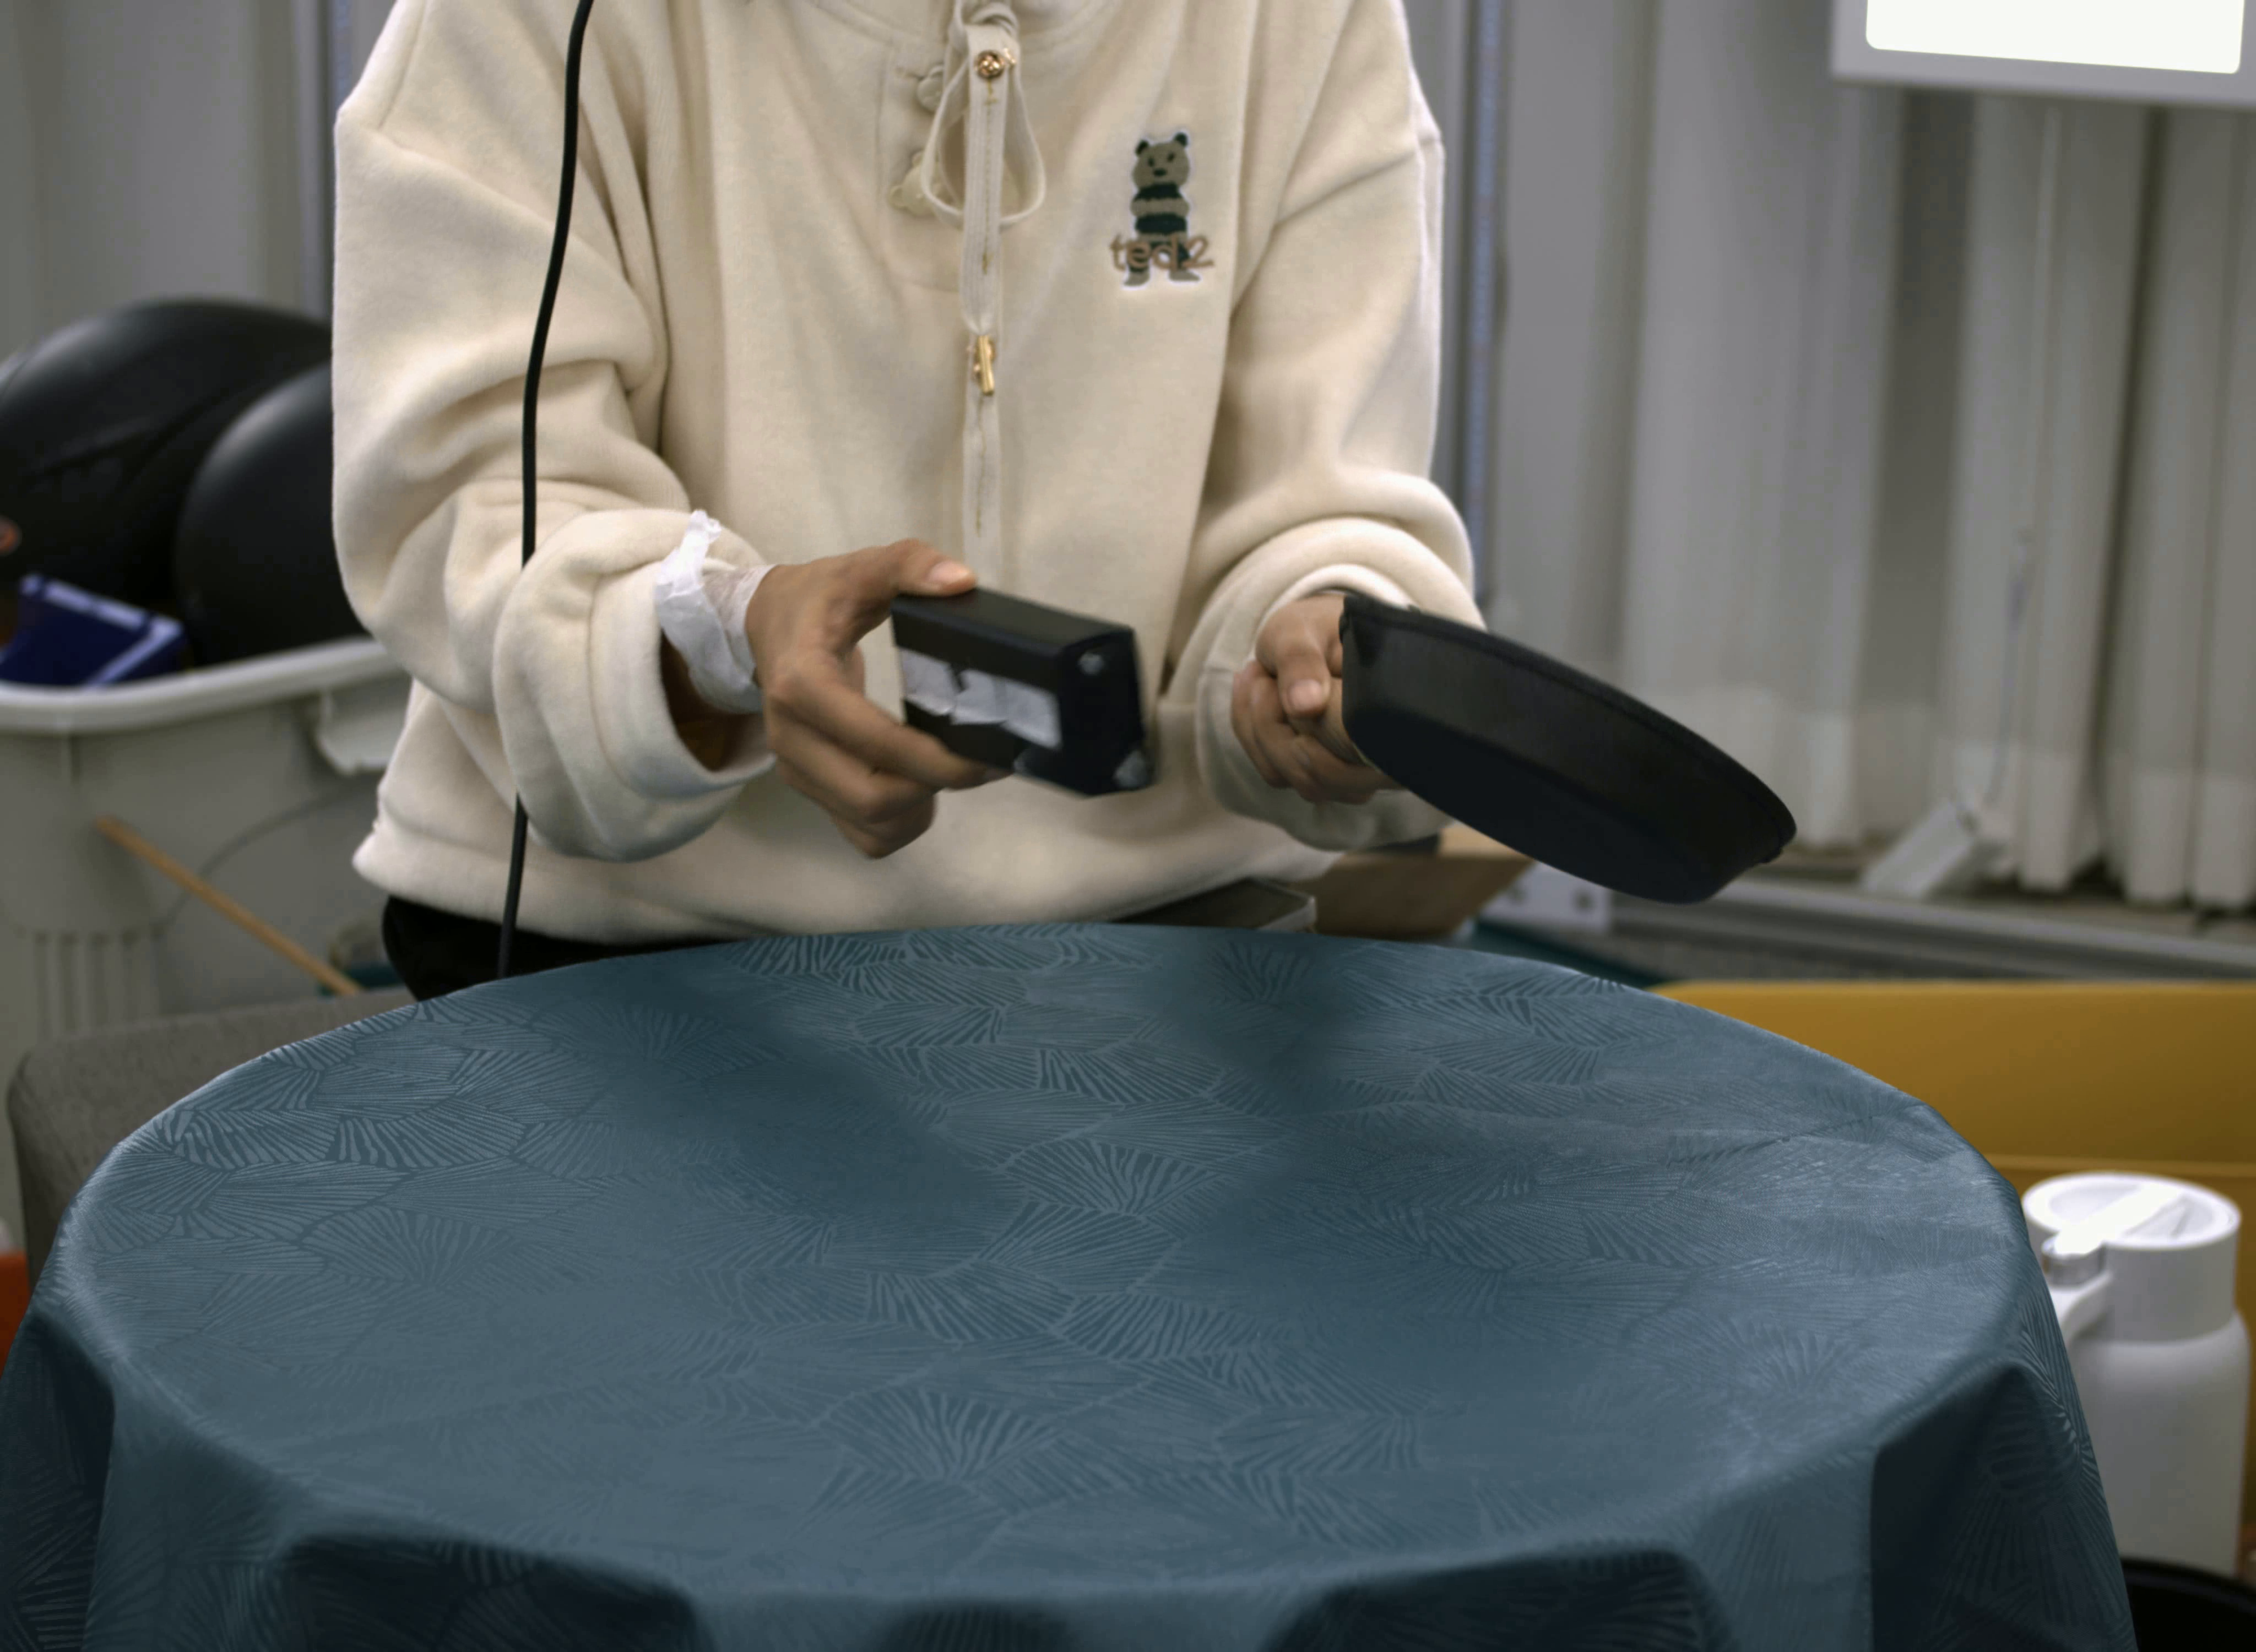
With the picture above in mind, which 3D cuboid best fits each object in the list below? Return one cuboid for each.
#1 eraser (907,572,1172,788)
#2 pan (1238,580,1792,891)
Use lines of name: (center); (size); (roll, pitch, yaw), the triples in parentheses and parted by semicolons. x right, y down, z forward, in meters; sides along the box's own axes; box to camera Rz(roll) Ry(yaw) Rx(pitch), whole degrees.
eraser: (-0.029, -0.049, 1.691); (0.030, 0.054, 0.124); (-15, 16, -27)
pan: (0.103, -0.029, 1.726); (0.170, 0.049, 0.322); (30, -10, -19)
